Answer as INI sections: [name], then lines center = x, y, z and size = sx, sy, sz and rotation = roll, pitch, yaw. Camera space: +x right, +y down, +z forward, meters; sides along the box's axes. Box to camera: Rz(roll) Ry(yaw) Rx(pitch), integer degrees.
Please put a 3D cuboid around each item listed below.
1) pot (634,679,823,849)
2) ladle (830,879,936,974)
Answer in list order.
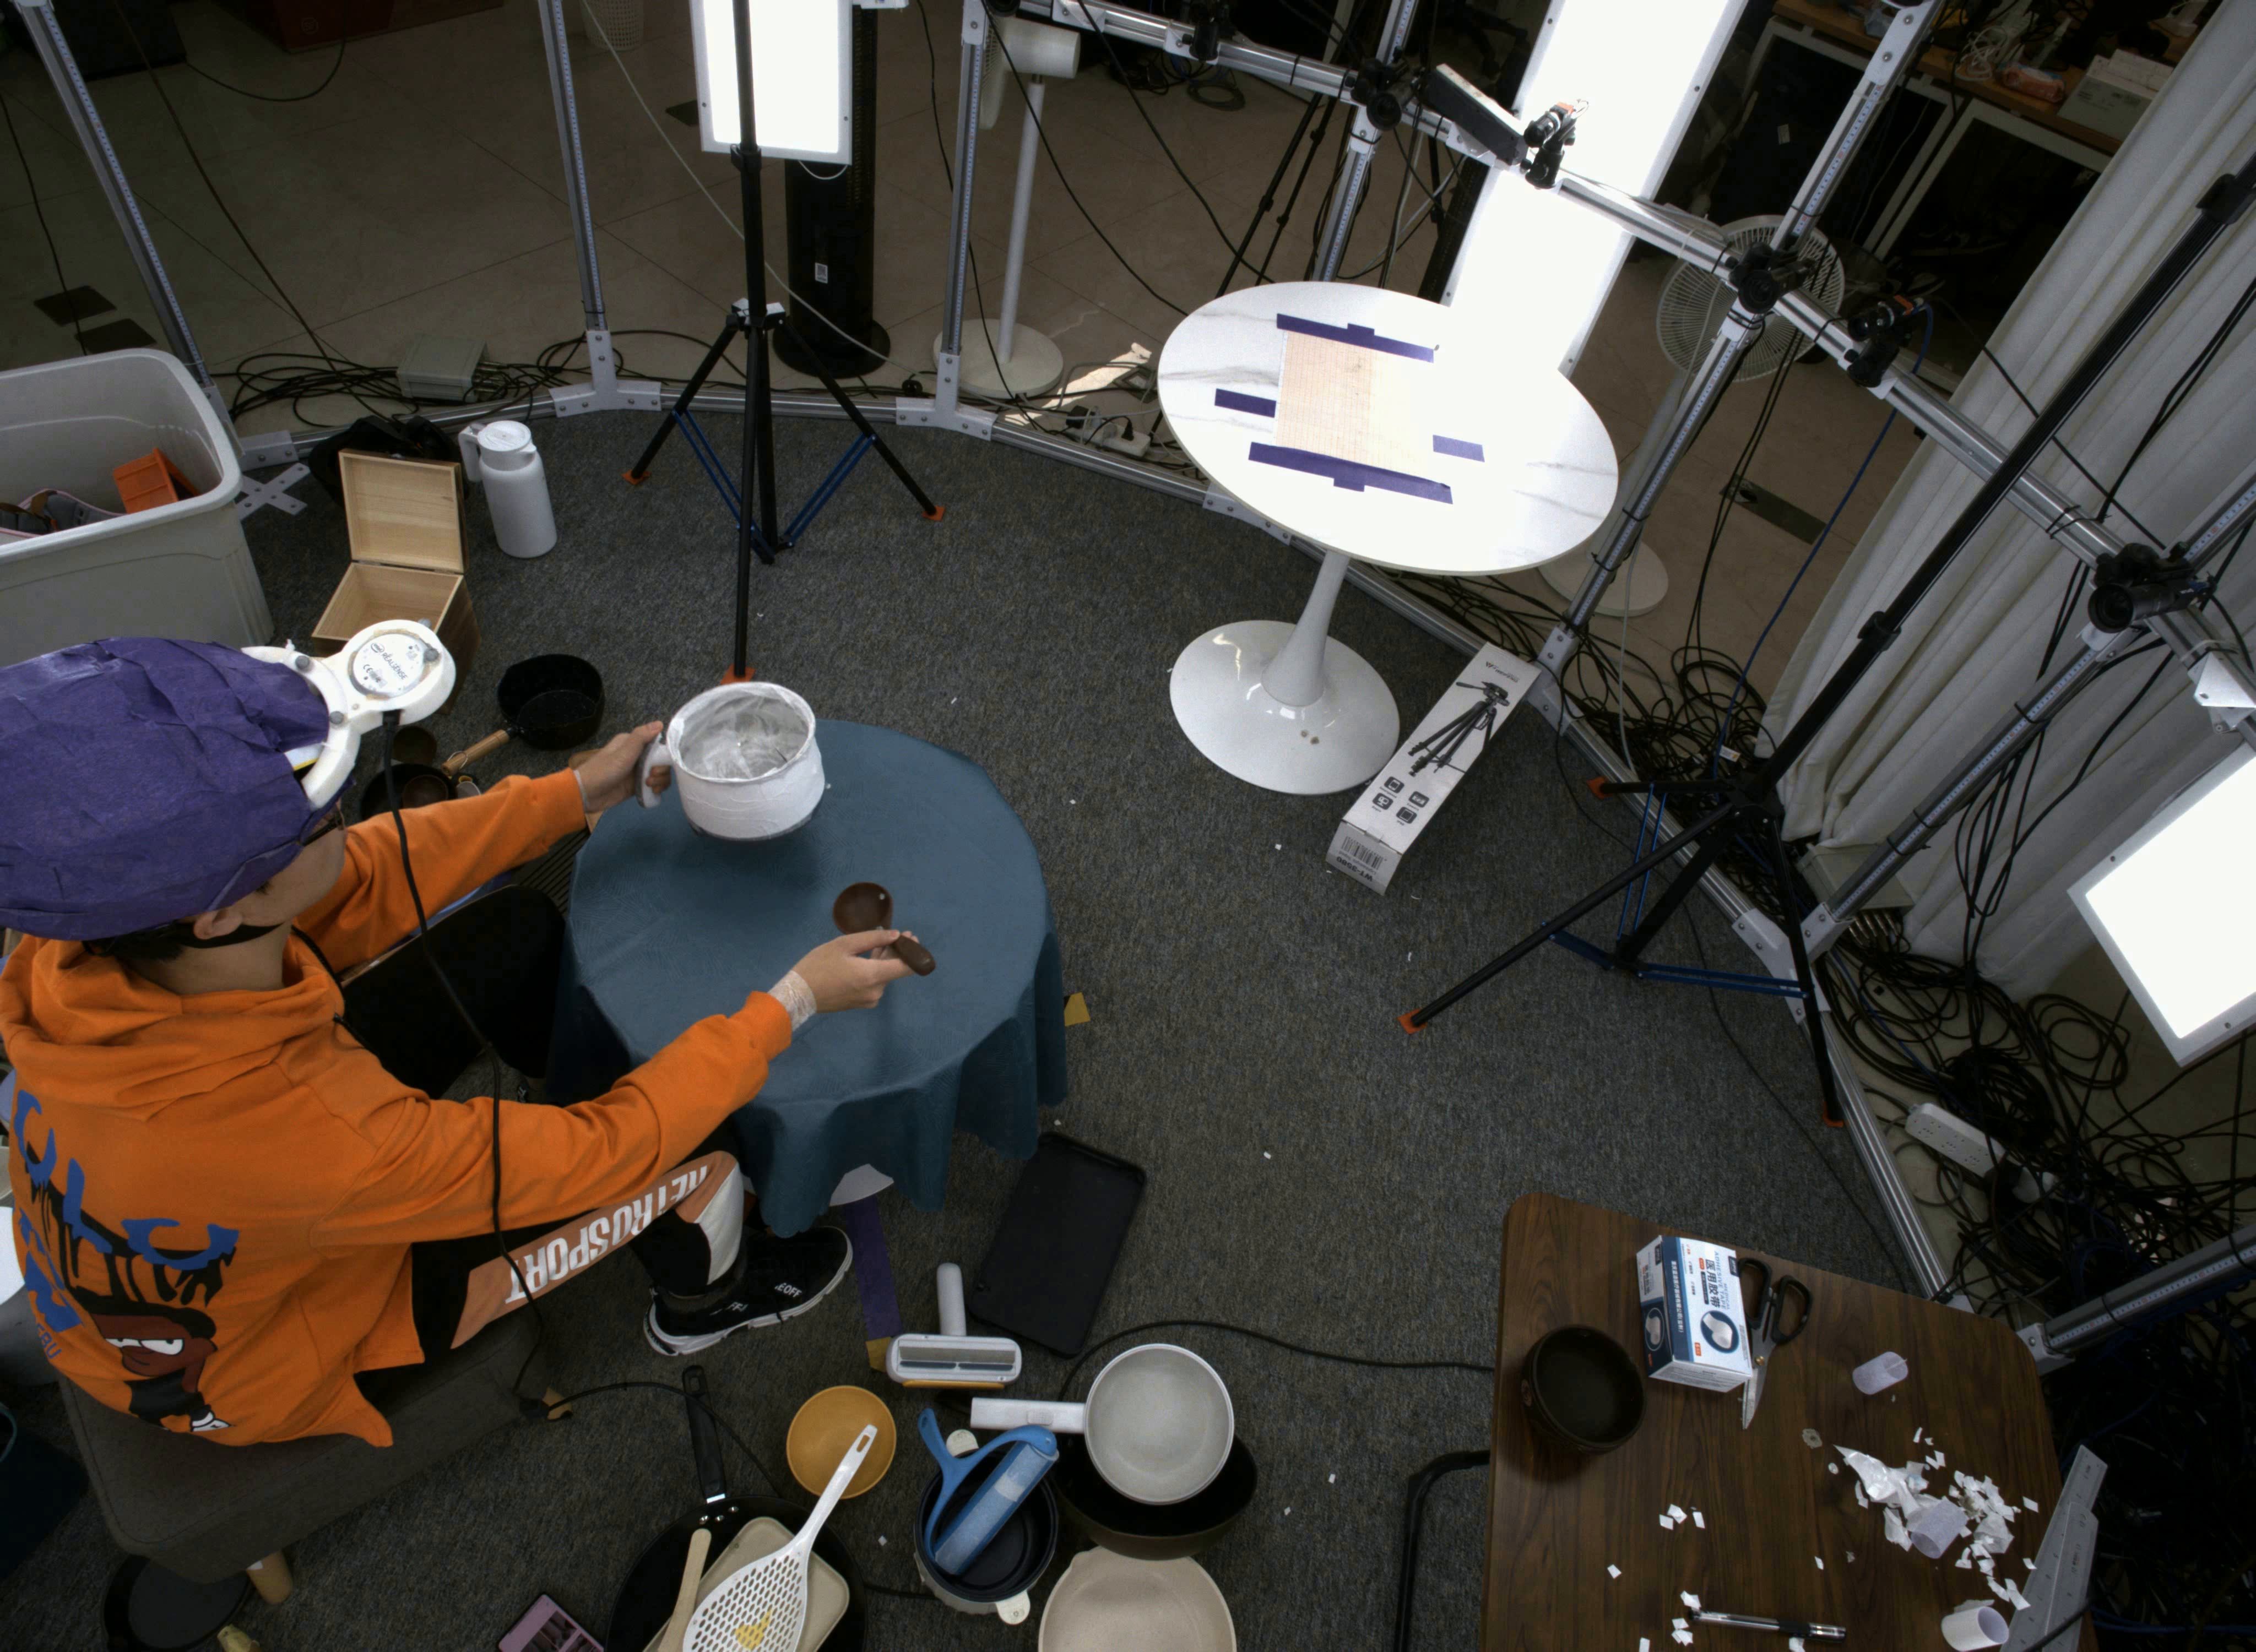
[pot]
center = -0.494, -0.071, 1.577
size = 0.233, 0.140, 0.174
rotation = -4, 47, -9
[ladle]
center = -0.281, 0.113, 1.490
size = 0.076, 0.252, 0.067
rotation = -42, 113, -15
